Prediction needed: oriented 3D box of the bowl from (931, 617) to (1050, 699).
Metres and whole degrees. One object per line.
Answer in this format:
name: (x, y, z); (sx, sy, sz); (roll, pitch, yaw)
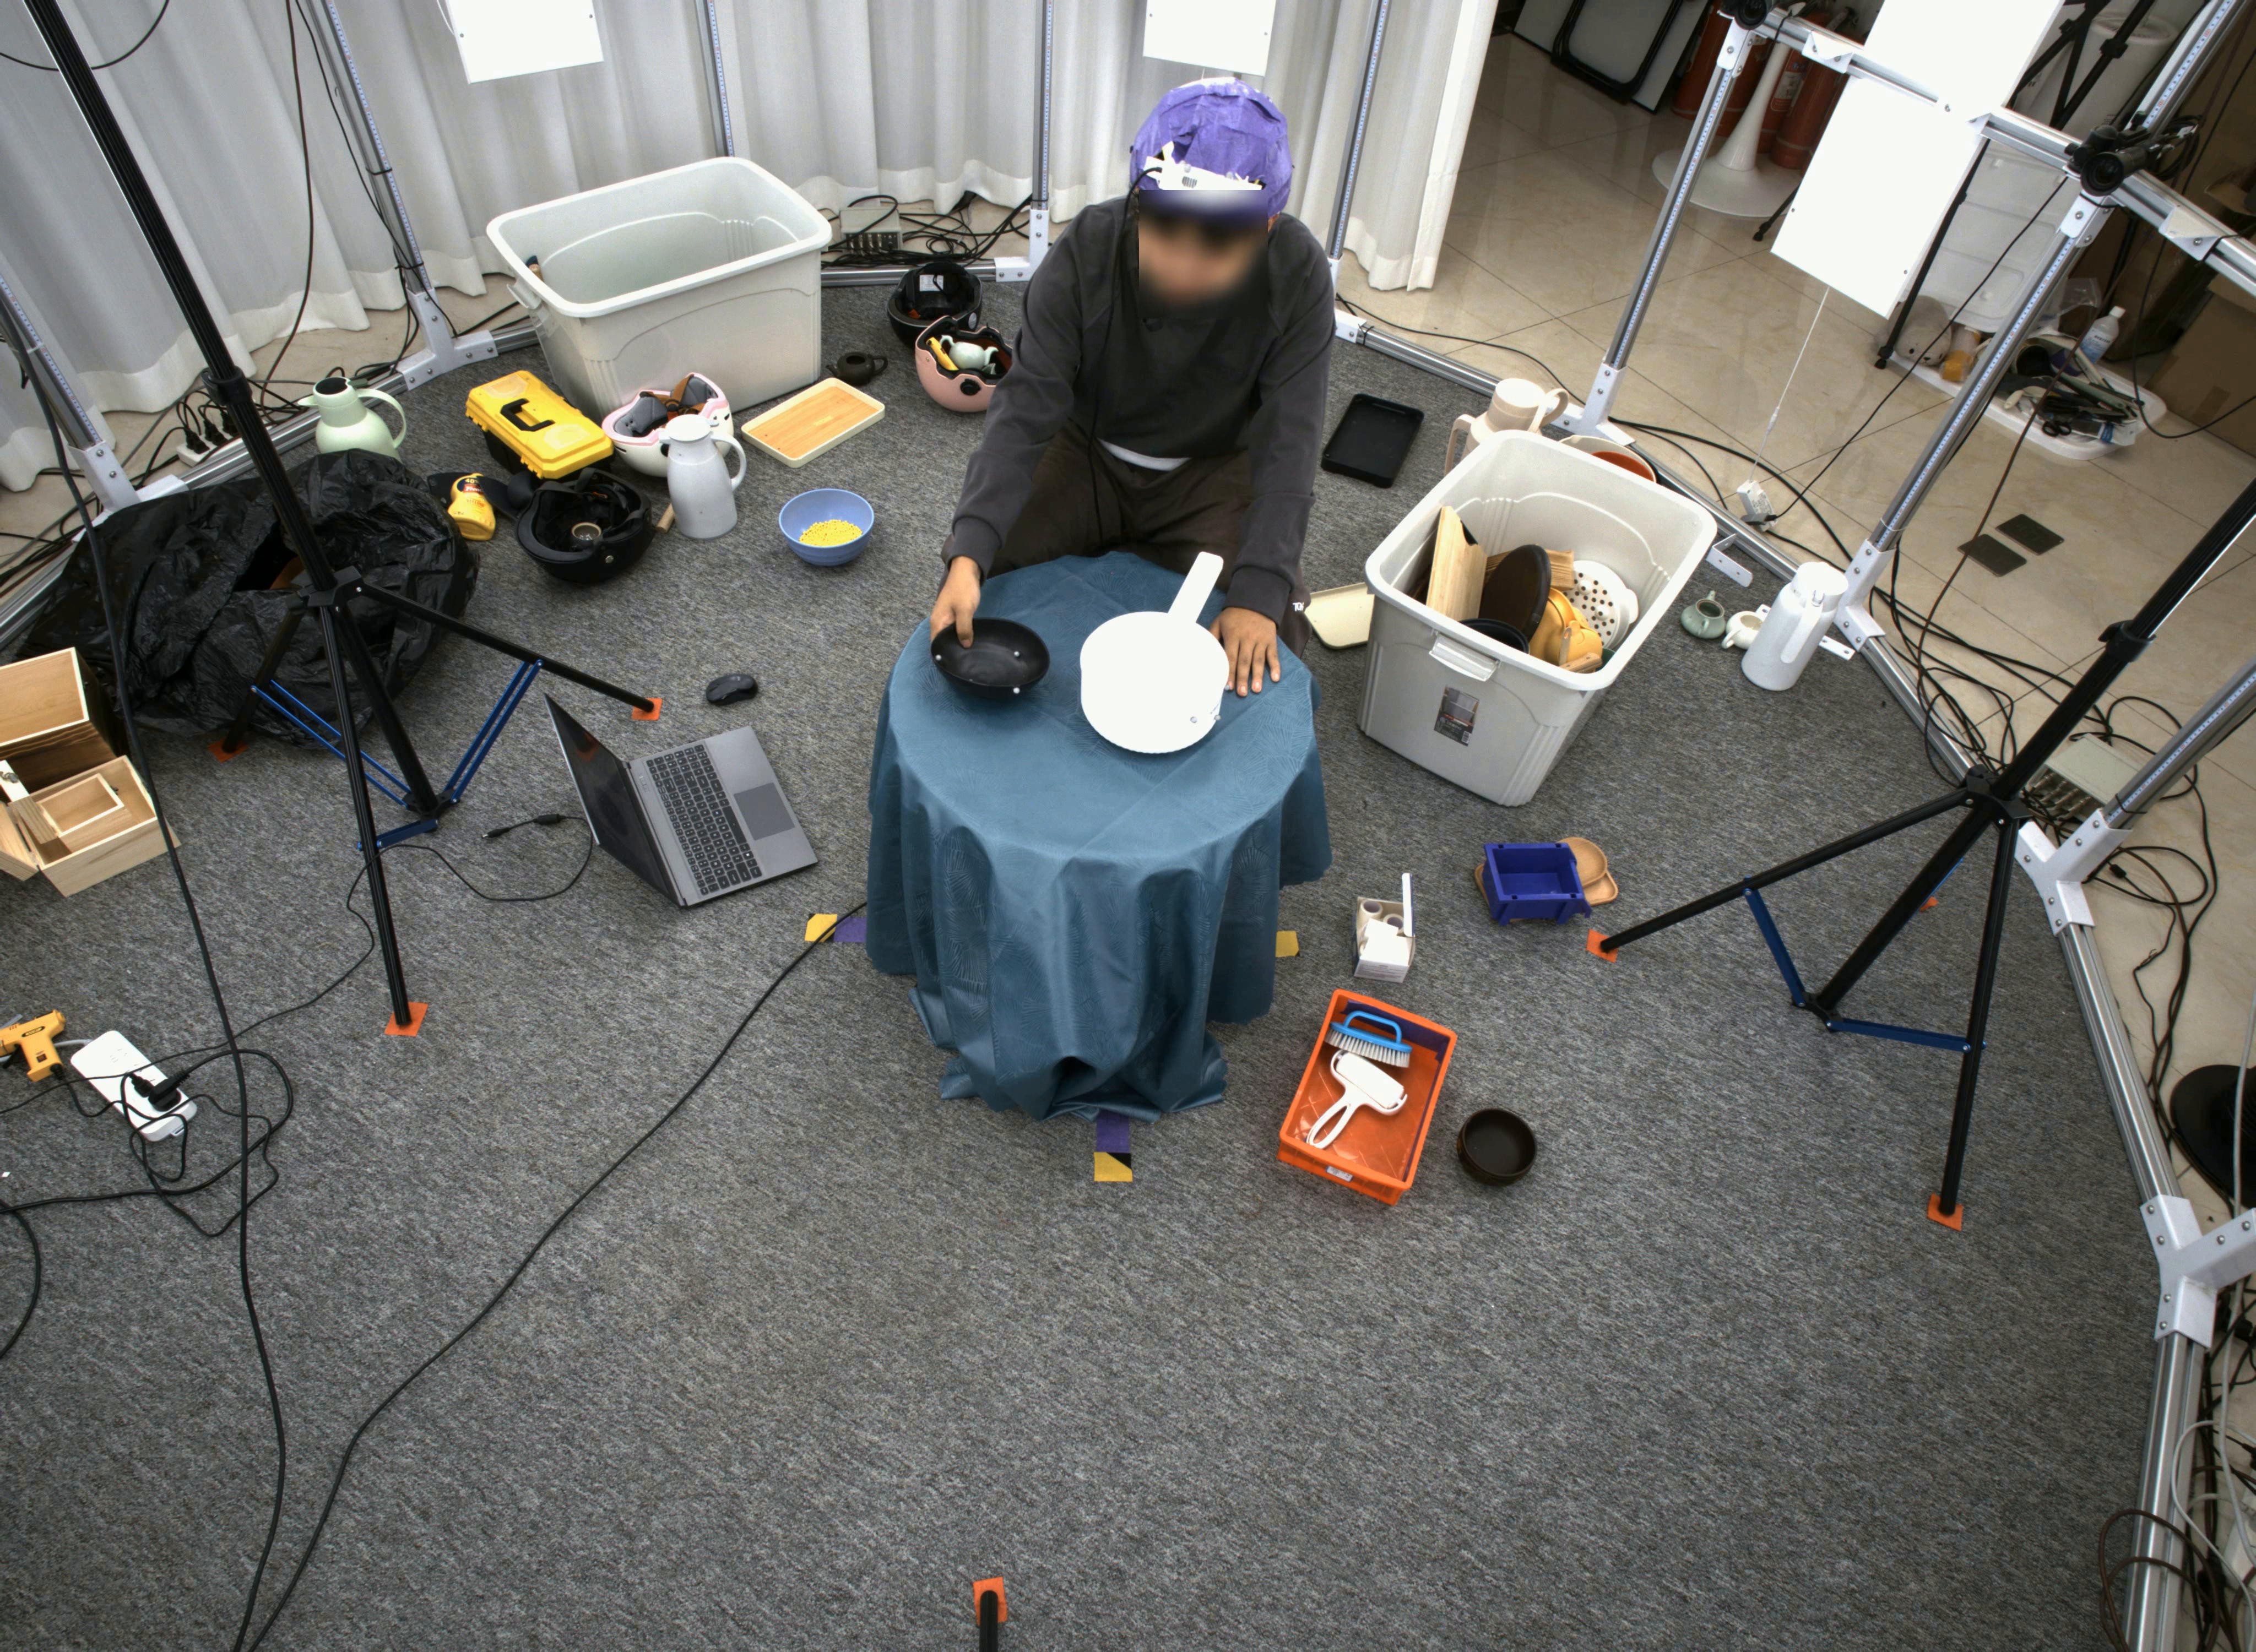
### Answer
bowl: (-0.193, -0.224, 1.801); (0.170, 0.065, 0.140); (13, 49, 7)

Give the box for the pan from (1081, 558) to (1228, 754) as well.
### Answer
pan: (0.059, -0.243, 1.824); (0.202, 0.099, 0.362); (16, 48, 12)
